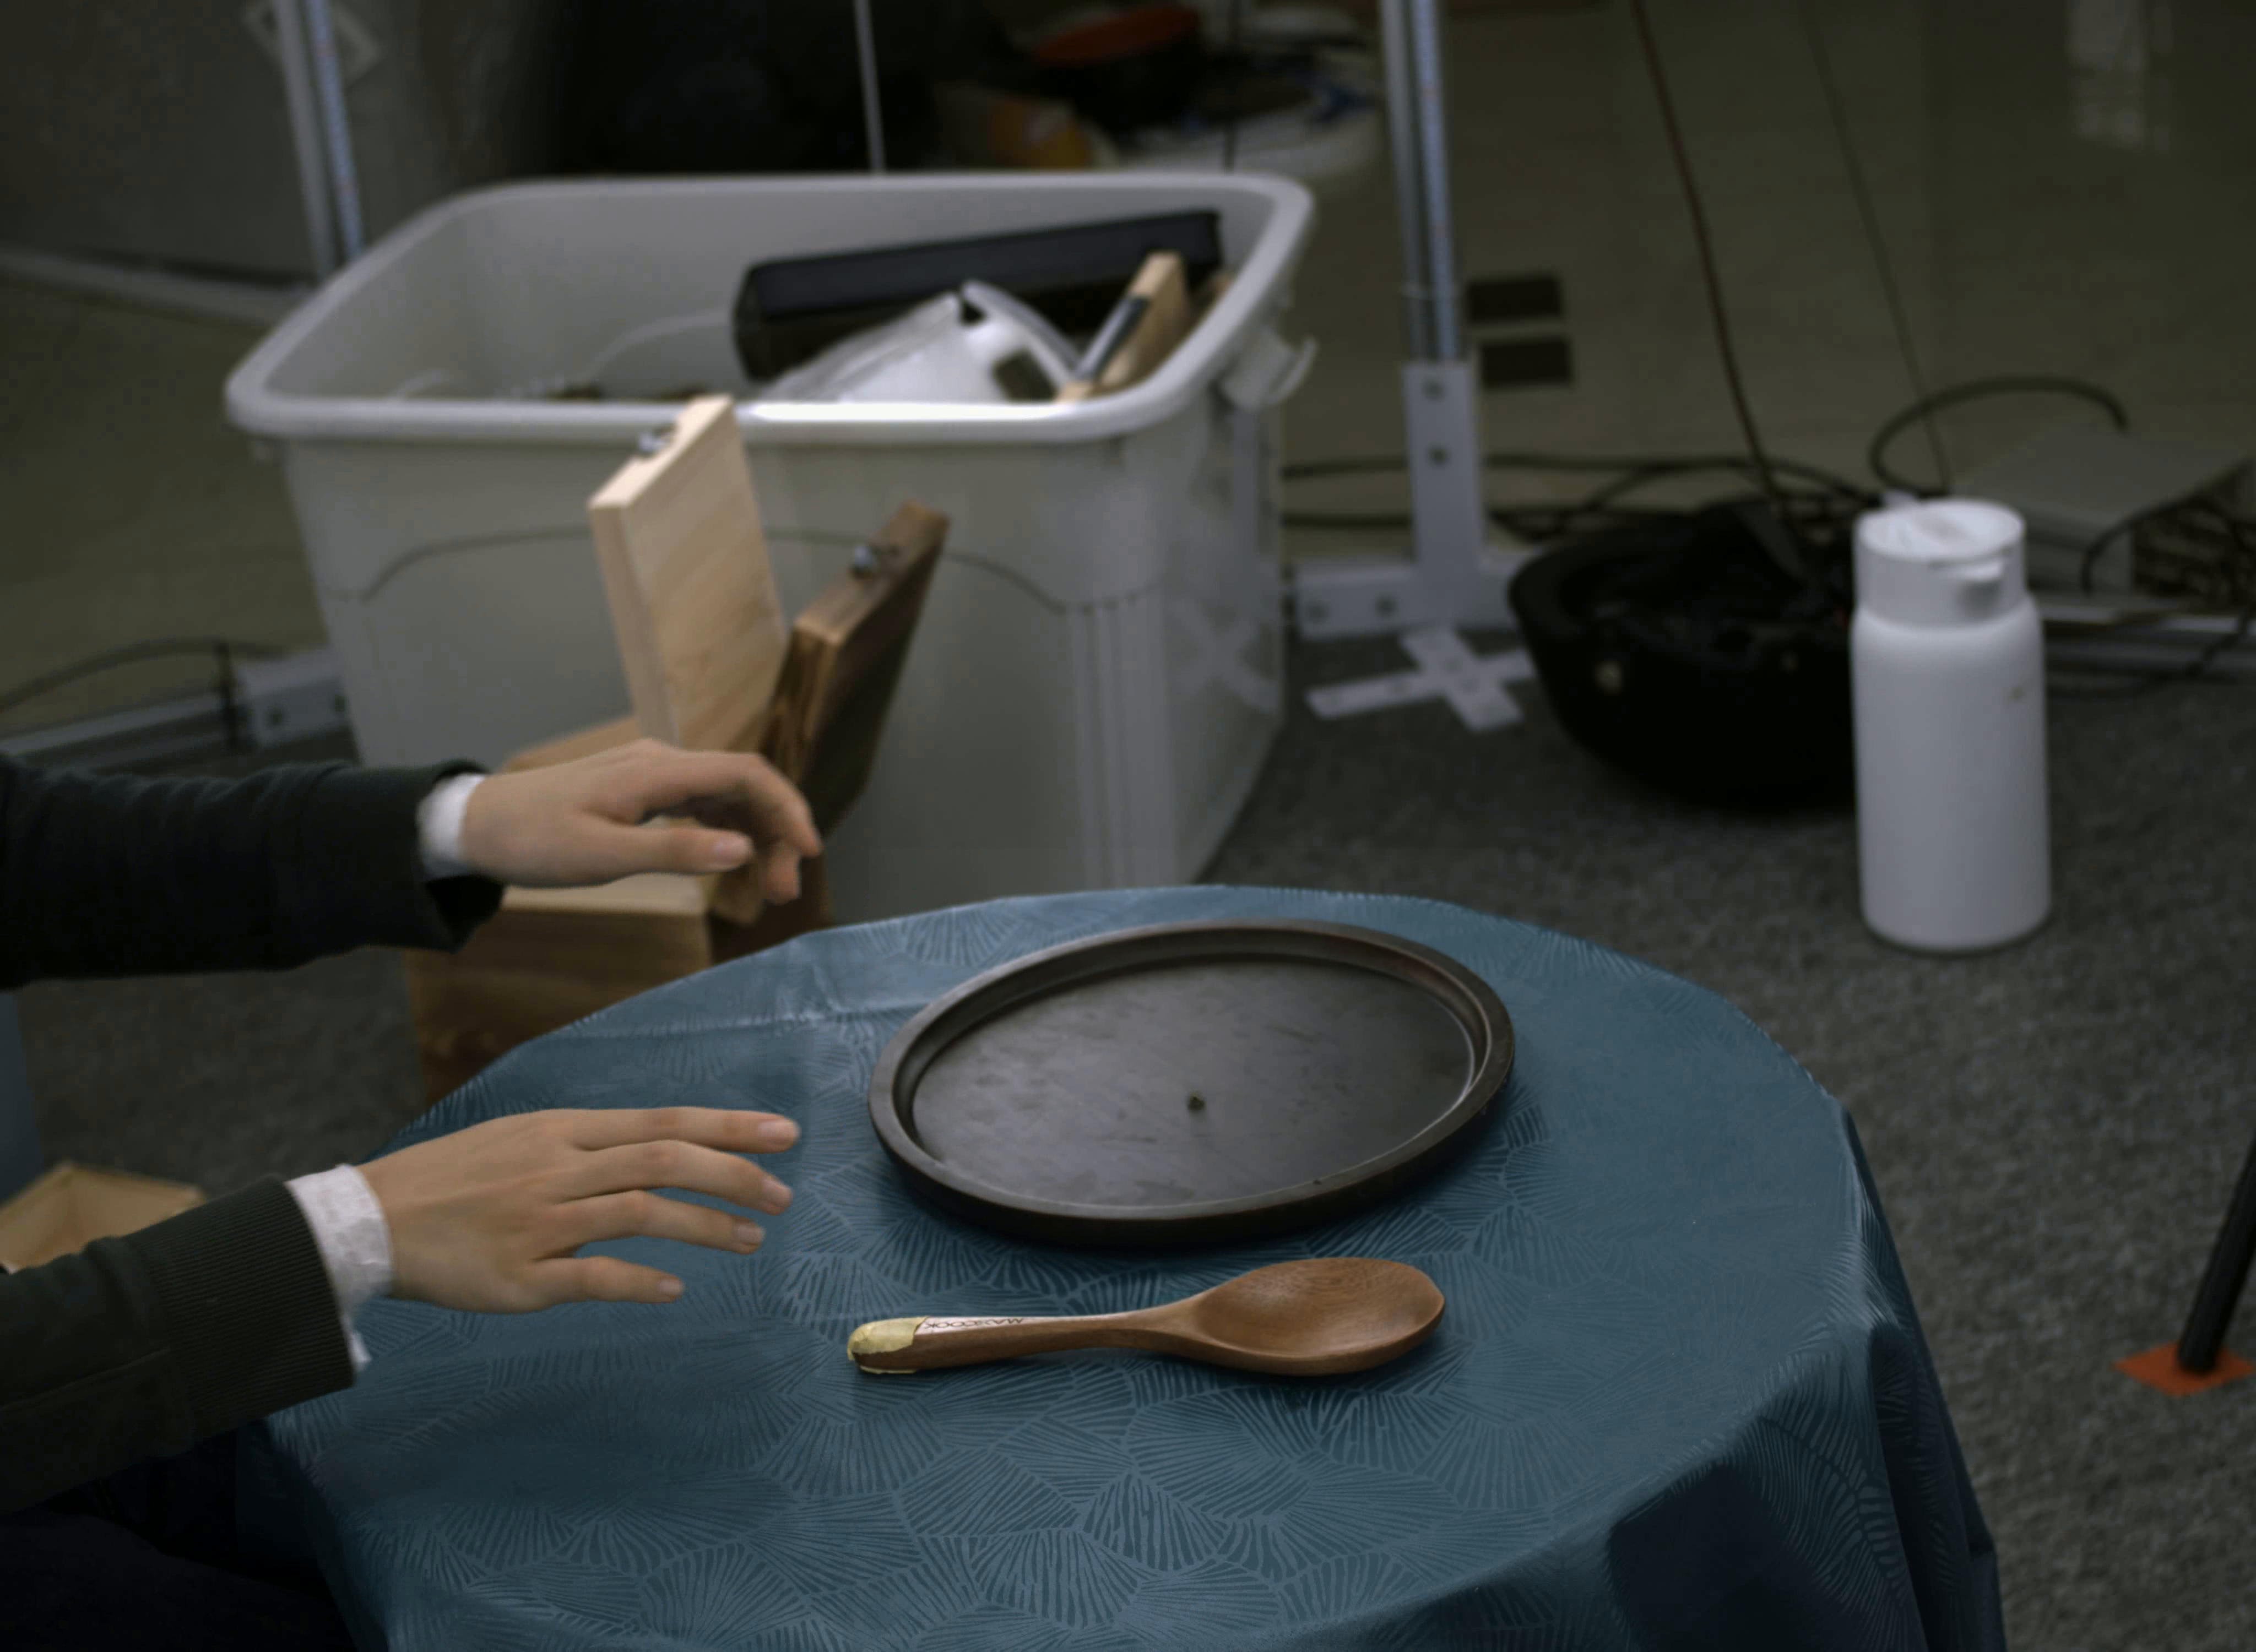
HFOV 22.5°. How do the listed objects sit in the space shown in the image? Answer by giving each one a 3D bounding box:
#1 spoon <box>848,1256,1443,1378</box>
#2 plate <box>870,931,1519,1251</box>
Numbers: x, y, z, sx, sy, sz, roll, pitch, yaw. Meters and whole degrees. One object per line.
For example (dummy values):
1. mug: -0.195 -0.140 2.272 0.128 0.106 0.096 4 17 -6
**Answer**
1. spoon: 0.006 0.182 2.040 0.215 0.017 0.074 -3 25 6
2. plate: 0.026 0.101 2.203 0.254 0.029 0.251 -4 24 2
